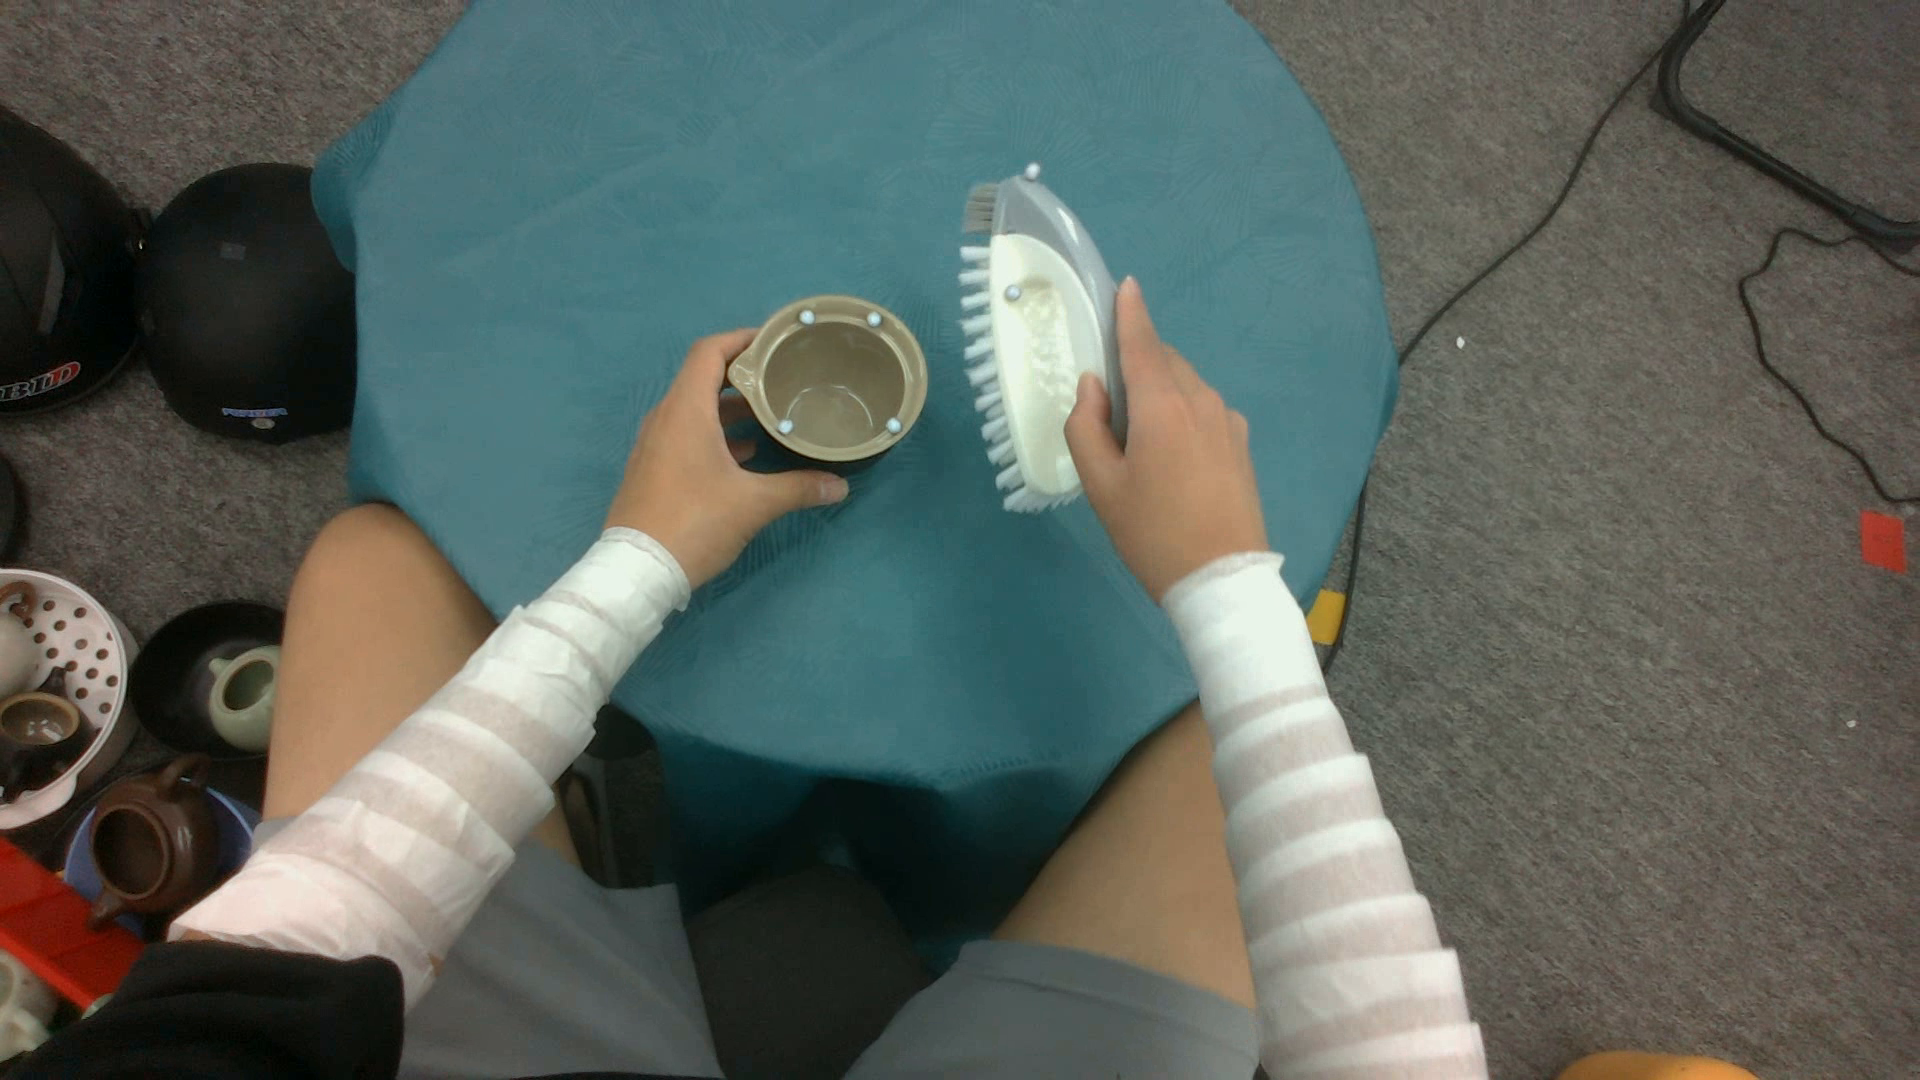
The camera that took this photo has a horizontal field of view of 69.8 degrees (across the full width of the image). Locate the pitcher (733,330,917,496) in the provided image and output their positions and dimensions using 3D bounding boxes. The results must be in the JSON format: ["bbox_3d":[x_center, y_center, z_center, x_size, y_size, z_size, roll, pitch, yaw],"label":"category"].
[{"bbox_3d":[-0.072,-0.063,0.744,0.096,0.071,0.084,-3,72,-6],"label":"pitcher"}]

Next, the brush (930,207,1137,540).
[{"bbox_3d":[0.038,-0.094,0.699,0.062,0.094,0.175,-16,86,-39],"label":"brush"}]
